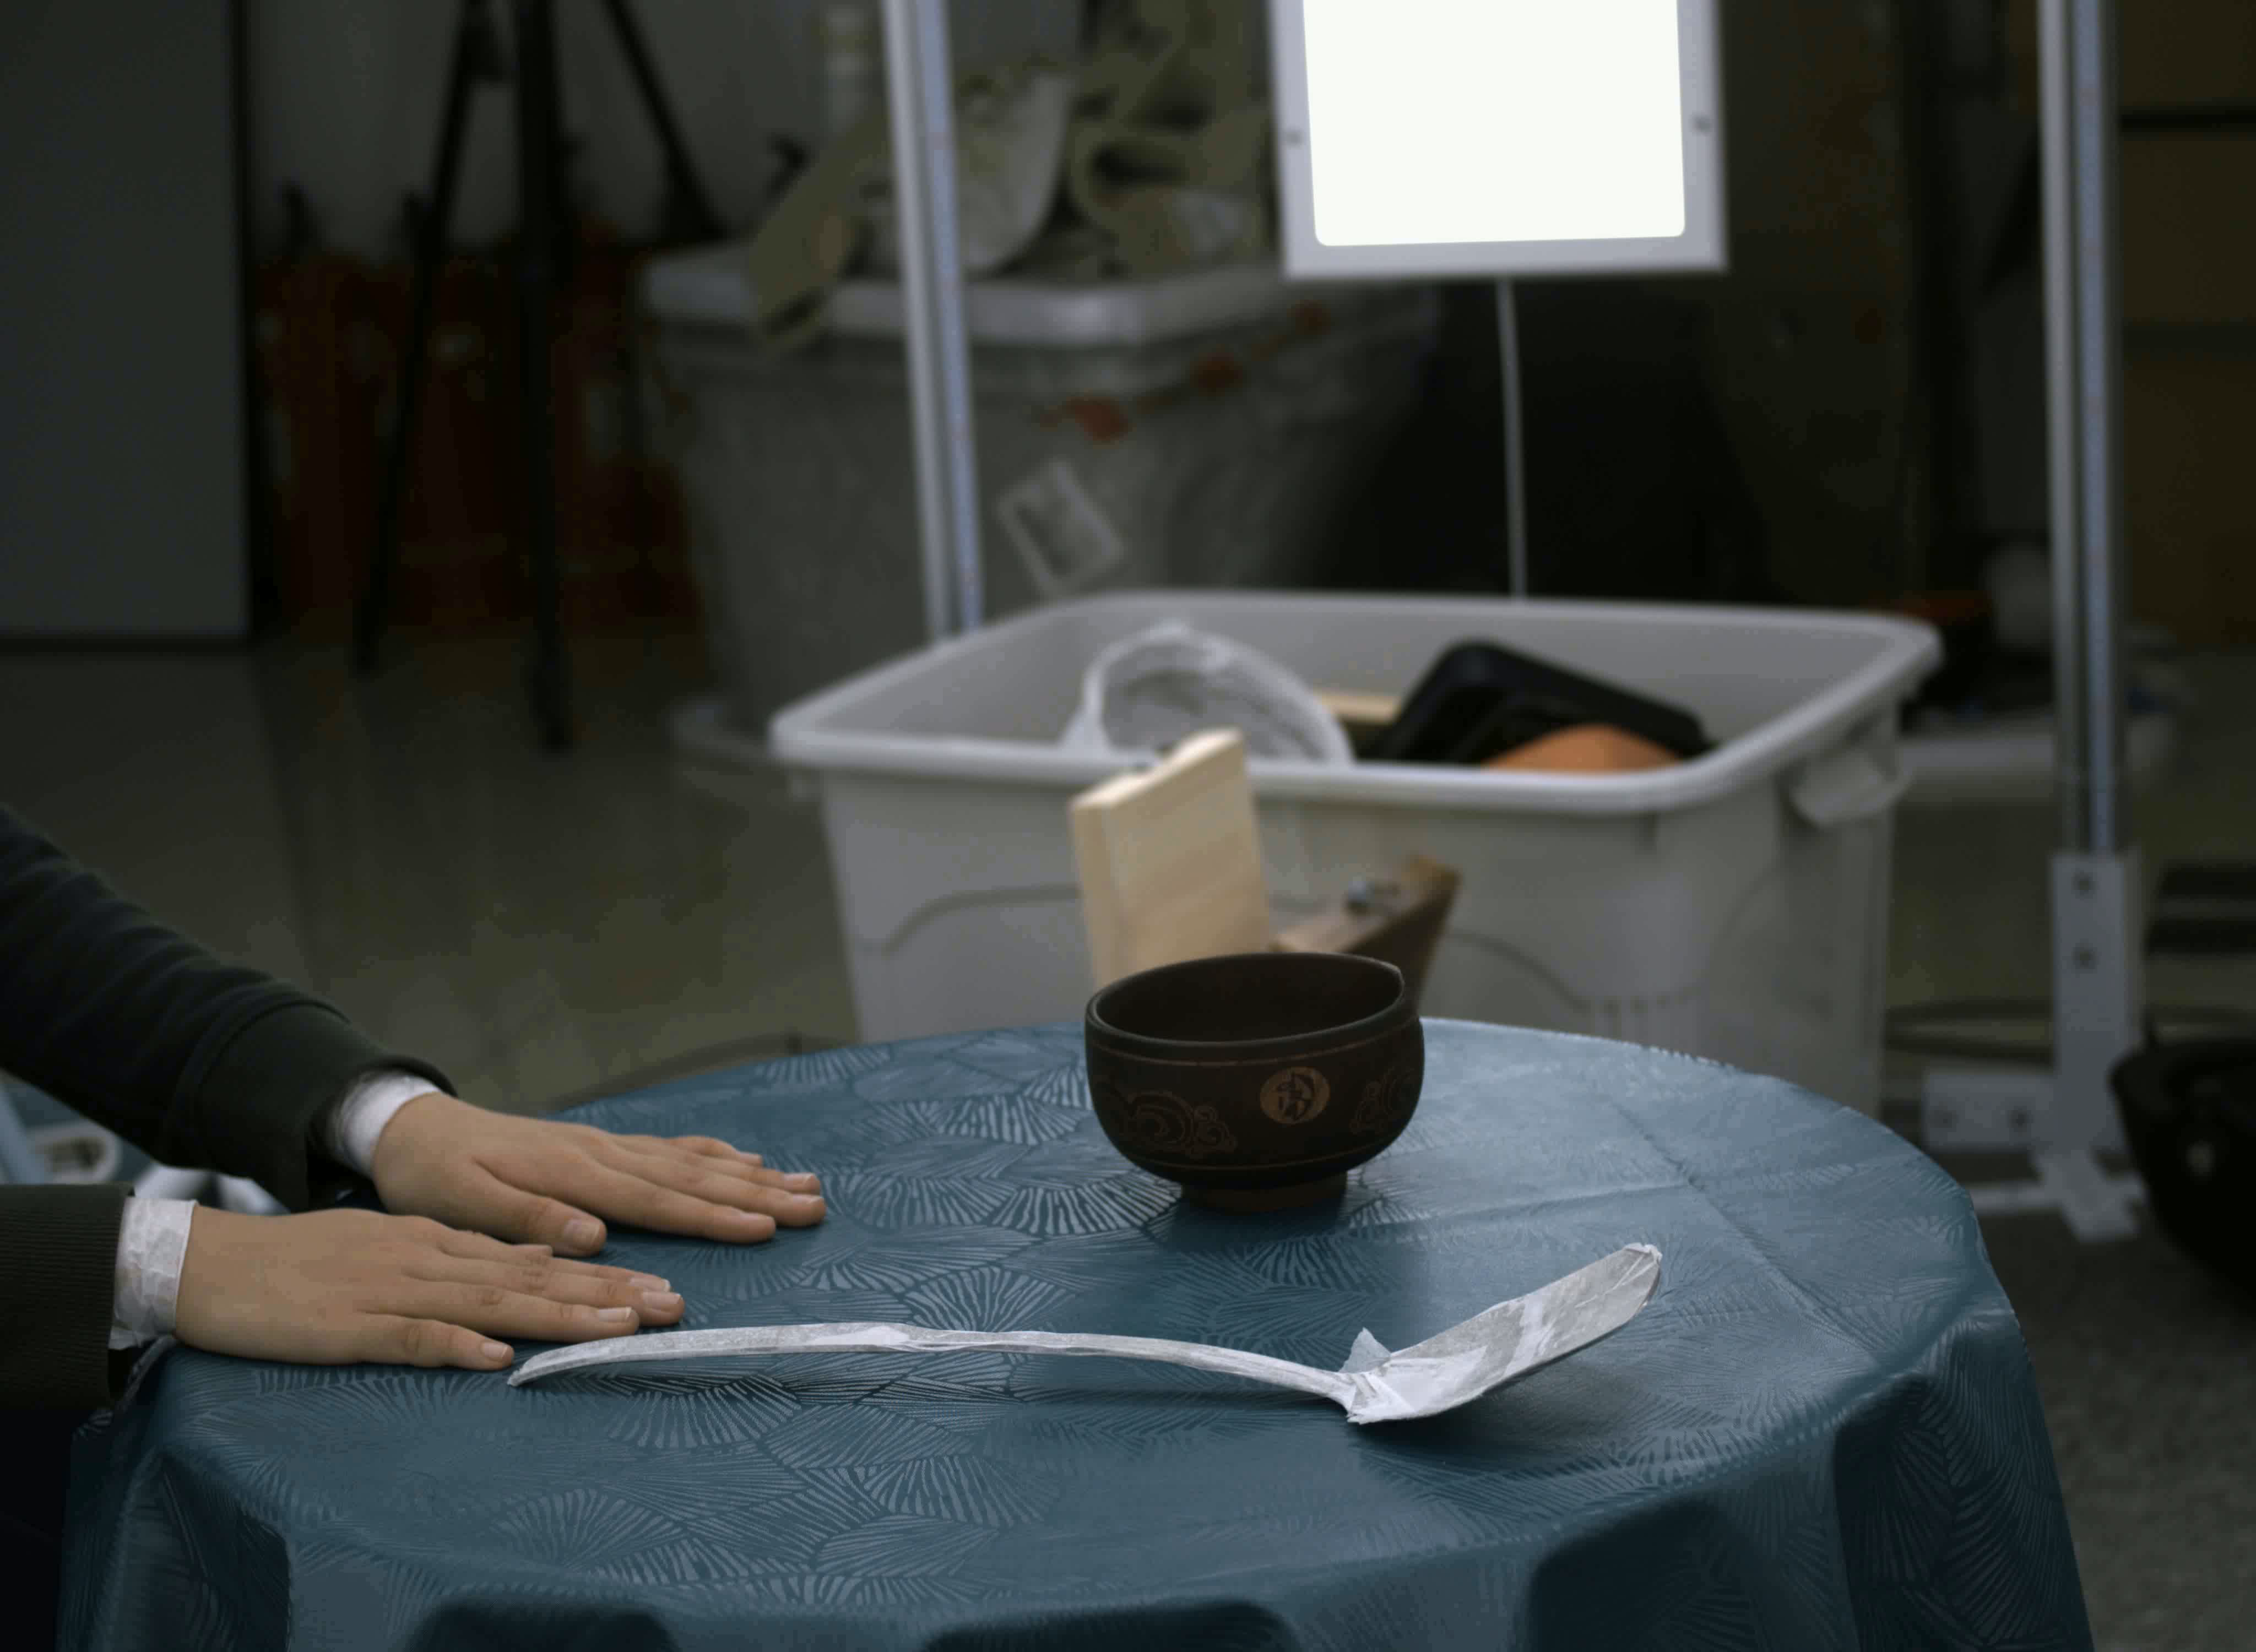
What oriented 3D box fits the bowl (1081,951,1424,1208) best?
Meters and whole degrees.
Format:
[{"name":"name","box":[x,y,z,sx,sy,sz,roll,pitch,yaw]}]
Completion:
[{"name":"bowl","box":[0.044,0.090,1.882,0.118,0.070,0.118,-5,12,0]}]

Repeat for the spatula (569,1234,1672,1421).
[{"name":"spatula","box":[-0.012,0.155,1.702,0.369,0.045,0.097,0,16,20]}]
